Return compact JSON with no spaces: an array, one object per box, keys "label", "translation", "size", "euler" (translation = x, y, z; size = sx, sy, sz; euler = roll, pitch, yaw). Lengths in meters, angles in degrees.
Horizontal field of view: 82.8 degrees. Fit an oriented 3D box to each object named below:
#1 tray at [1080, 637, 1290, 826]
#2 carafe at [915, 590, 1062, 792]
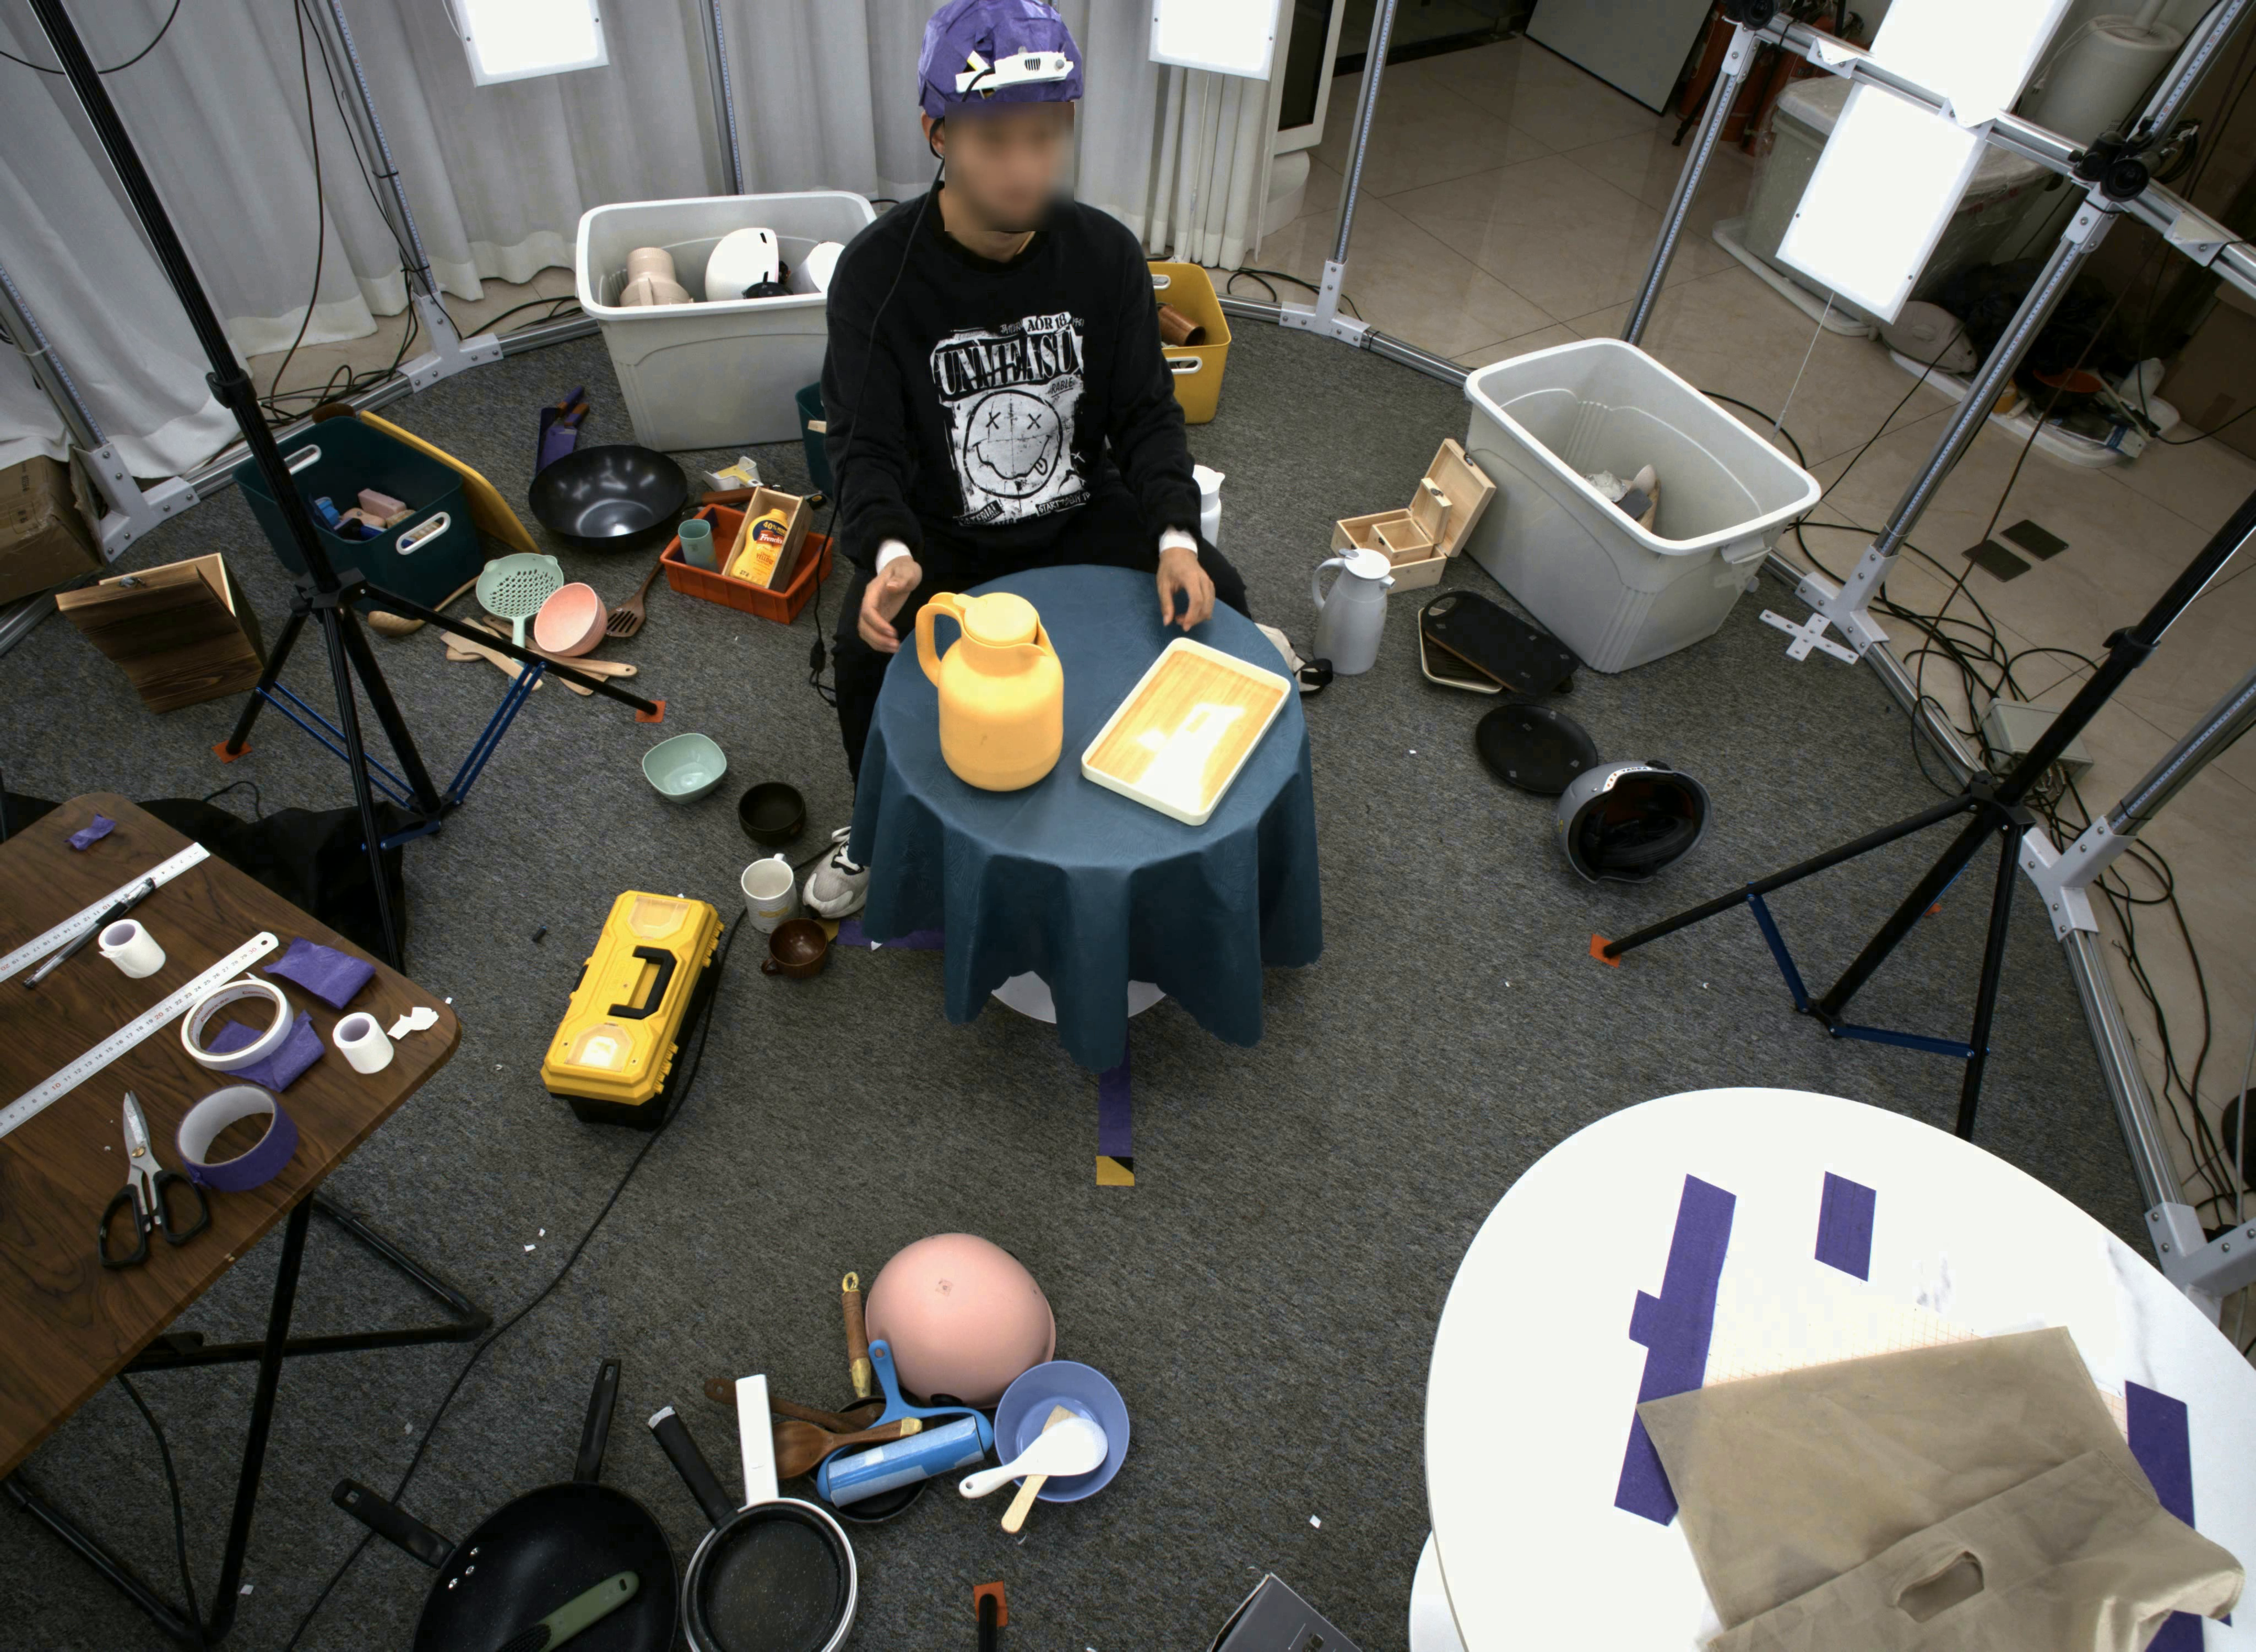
[{"label":"tray","translation":[0.083,-0.138,1.777],"size":[0.193,0.027,0.305],"euler":[24,52,16]},{"label":"carafe","translation":[-0.181,-0.185,1.650],"size":[0.204,0.254,0.166],"euler":[28,51,17]}]
